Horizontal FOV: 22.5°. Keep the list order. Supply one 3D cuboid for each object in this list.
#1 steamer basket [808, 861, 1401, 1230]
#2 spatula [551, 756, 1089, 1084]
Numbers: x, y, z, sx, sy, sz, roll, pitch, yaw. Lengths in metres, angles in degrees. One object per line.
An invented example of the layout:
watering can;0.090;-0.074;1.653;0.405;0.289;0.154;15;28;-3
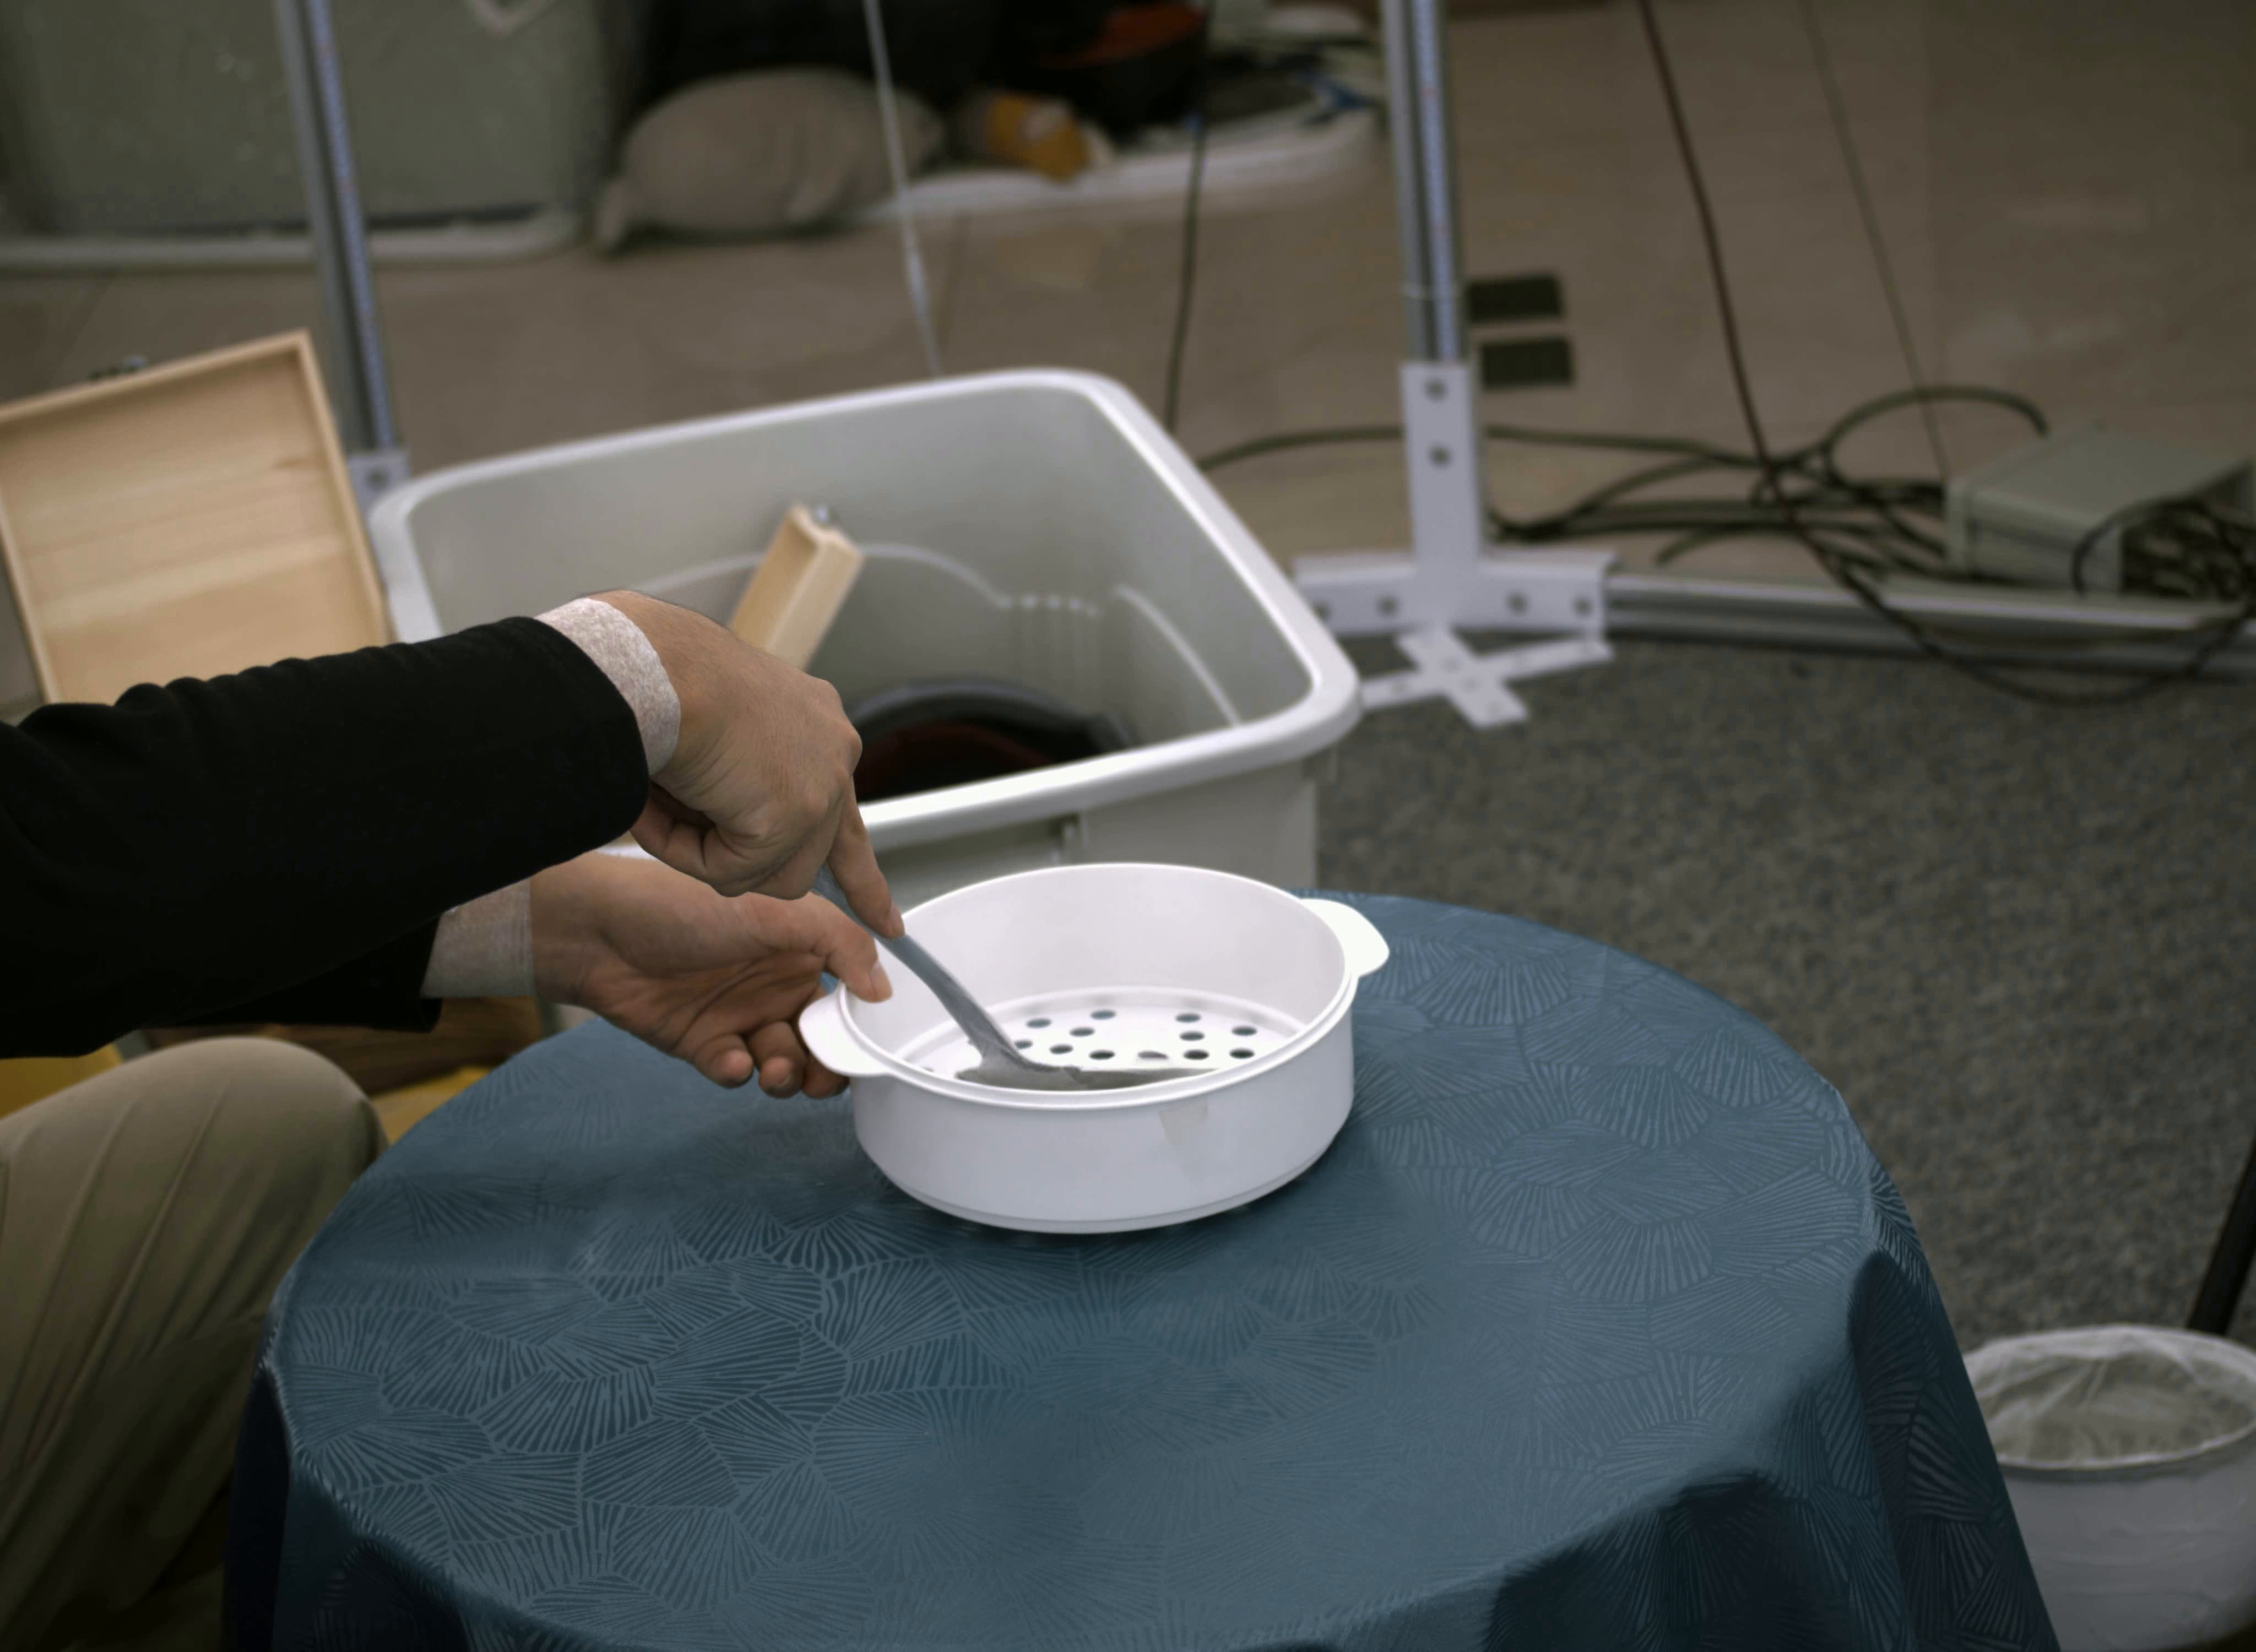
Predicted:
steamer basket;-0.006;0.085;2.177;0.230;0.070;0.199;-12;26;-14
spatula;-0.087;0.038;2.042;0.098;0.369;0.044;-1;63;34
